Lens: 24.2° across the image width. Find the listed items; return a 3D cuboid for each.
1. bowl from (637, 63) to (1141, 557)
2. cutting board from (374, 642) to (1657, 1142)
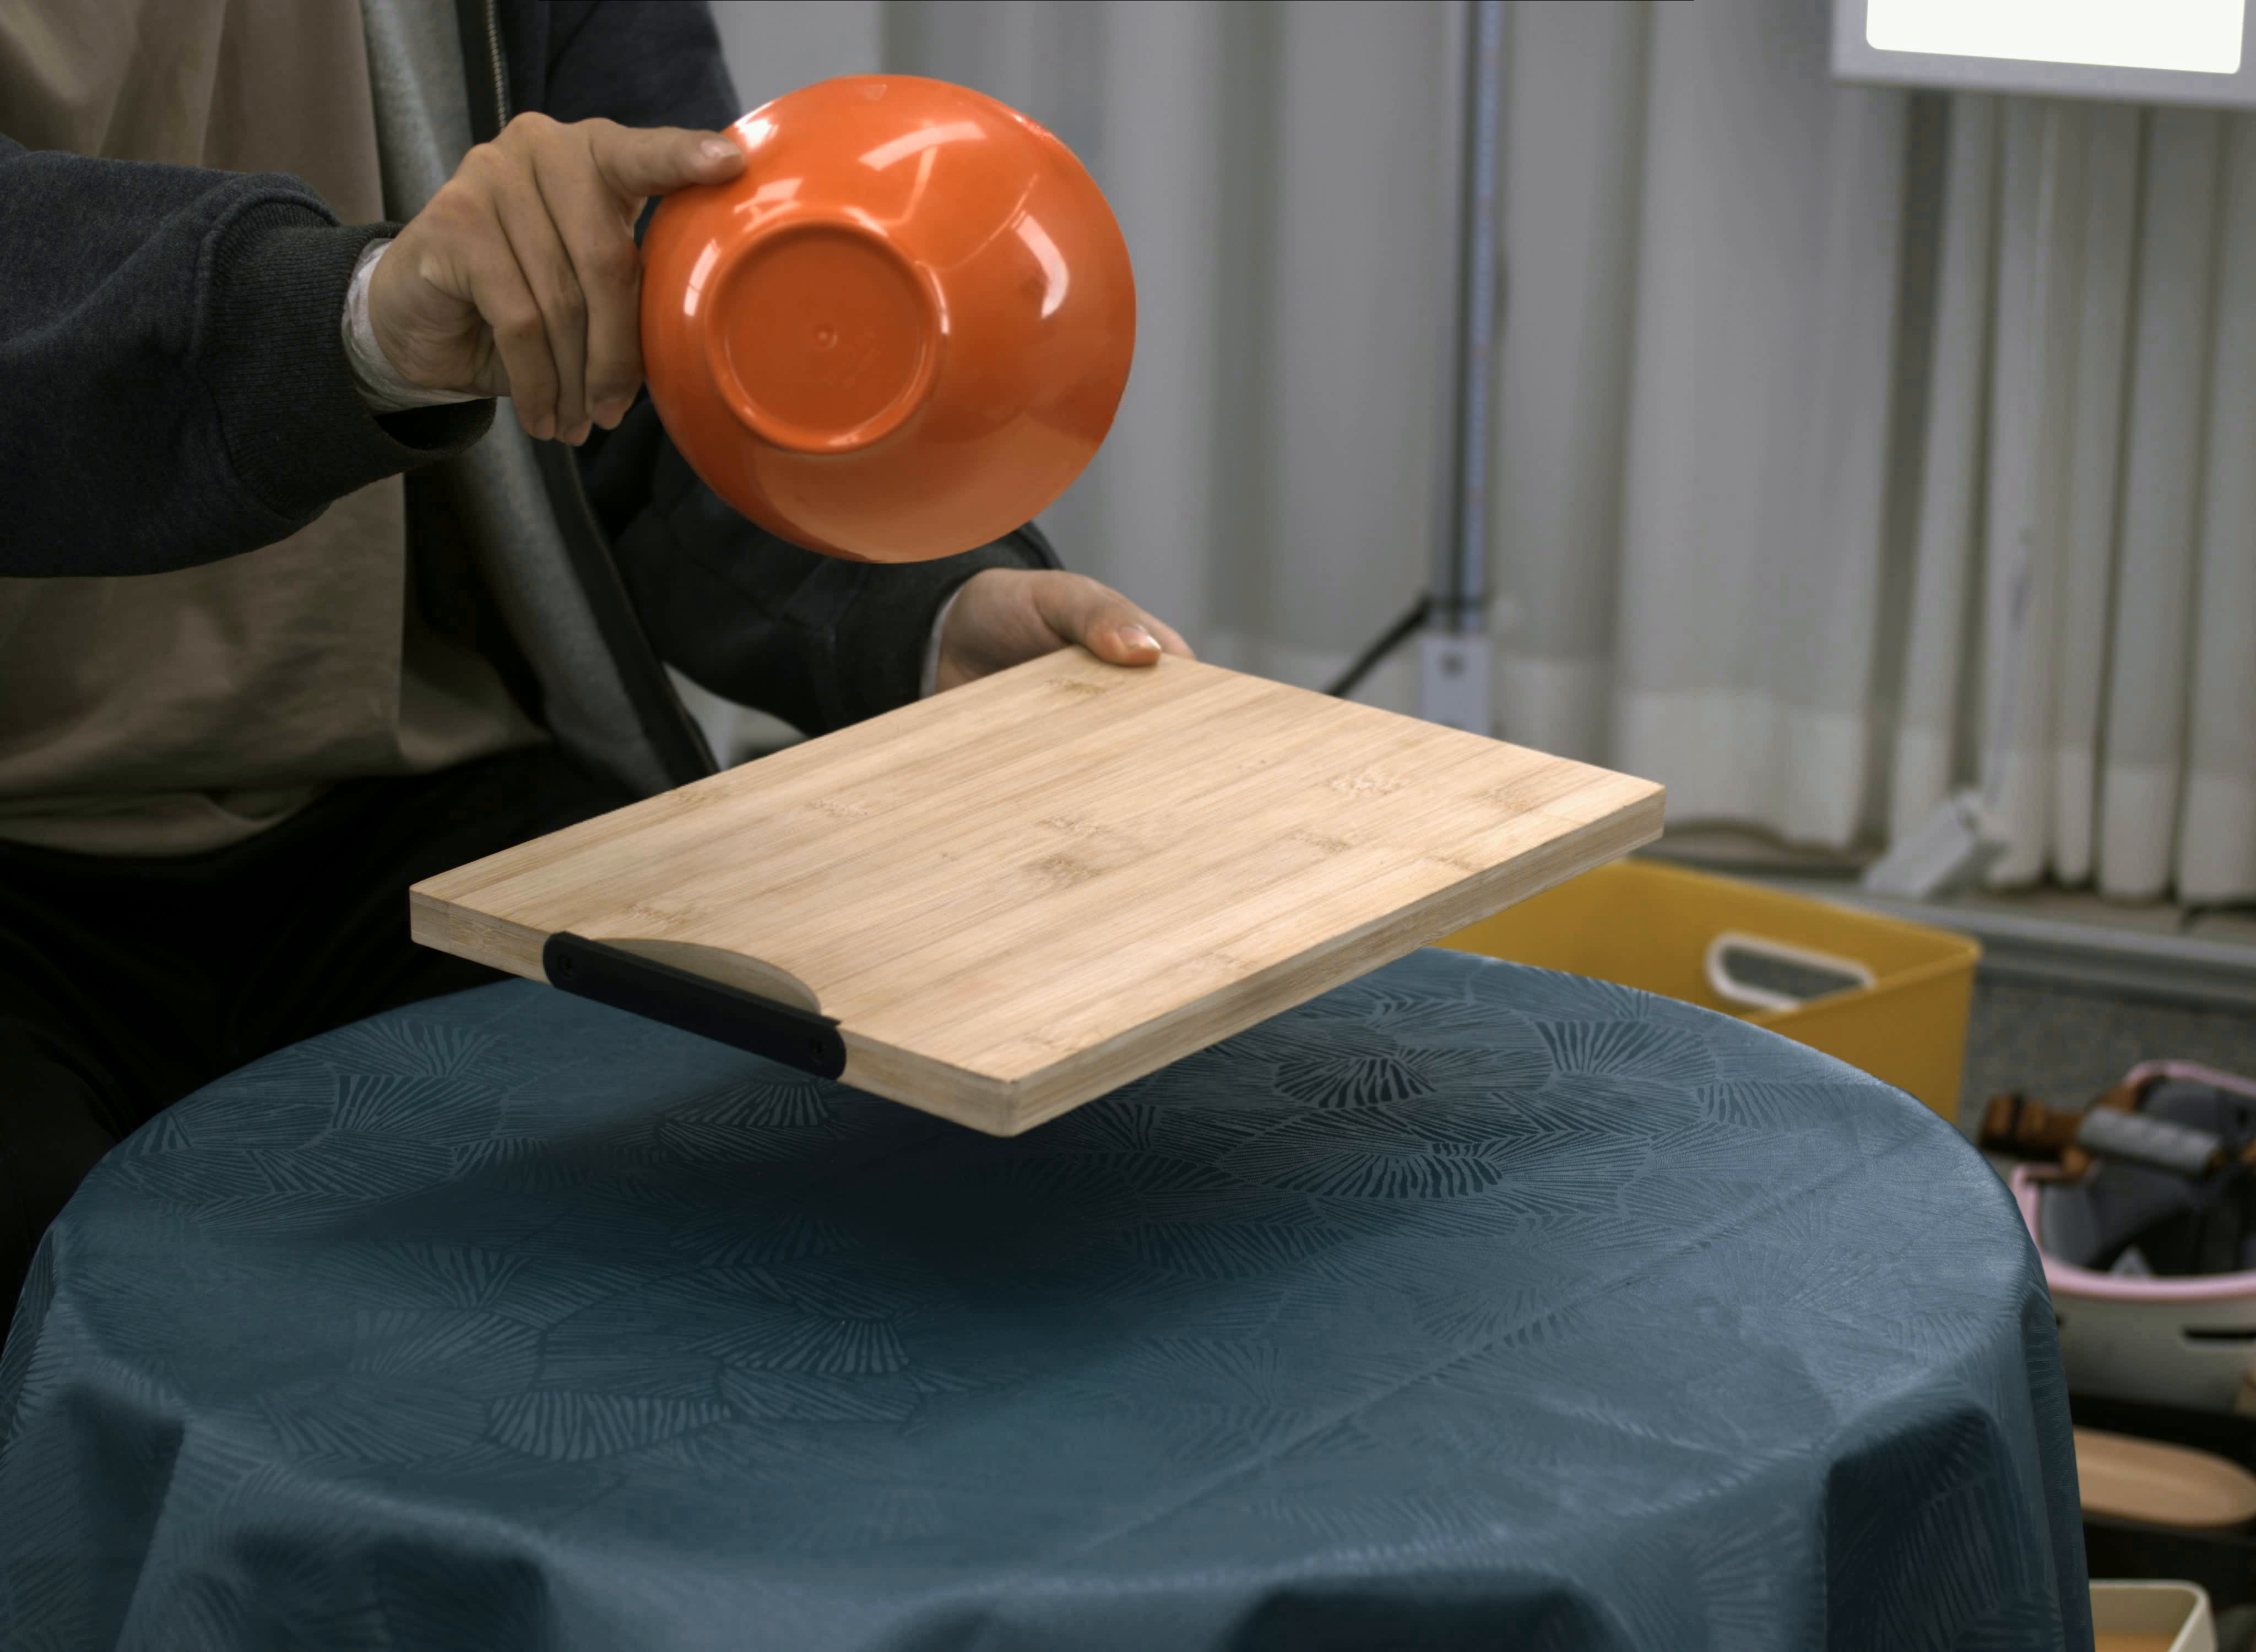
[{"bbox_3d":[-0.073,-0.142,1.505,0.147,0.149,0.104,2,14,4],"label":"bowl"},{"bbox_3d":[-0.026,0.013,1.655,0.247,0.024,0.350,15,23,34],"label":"cutting board"}]
